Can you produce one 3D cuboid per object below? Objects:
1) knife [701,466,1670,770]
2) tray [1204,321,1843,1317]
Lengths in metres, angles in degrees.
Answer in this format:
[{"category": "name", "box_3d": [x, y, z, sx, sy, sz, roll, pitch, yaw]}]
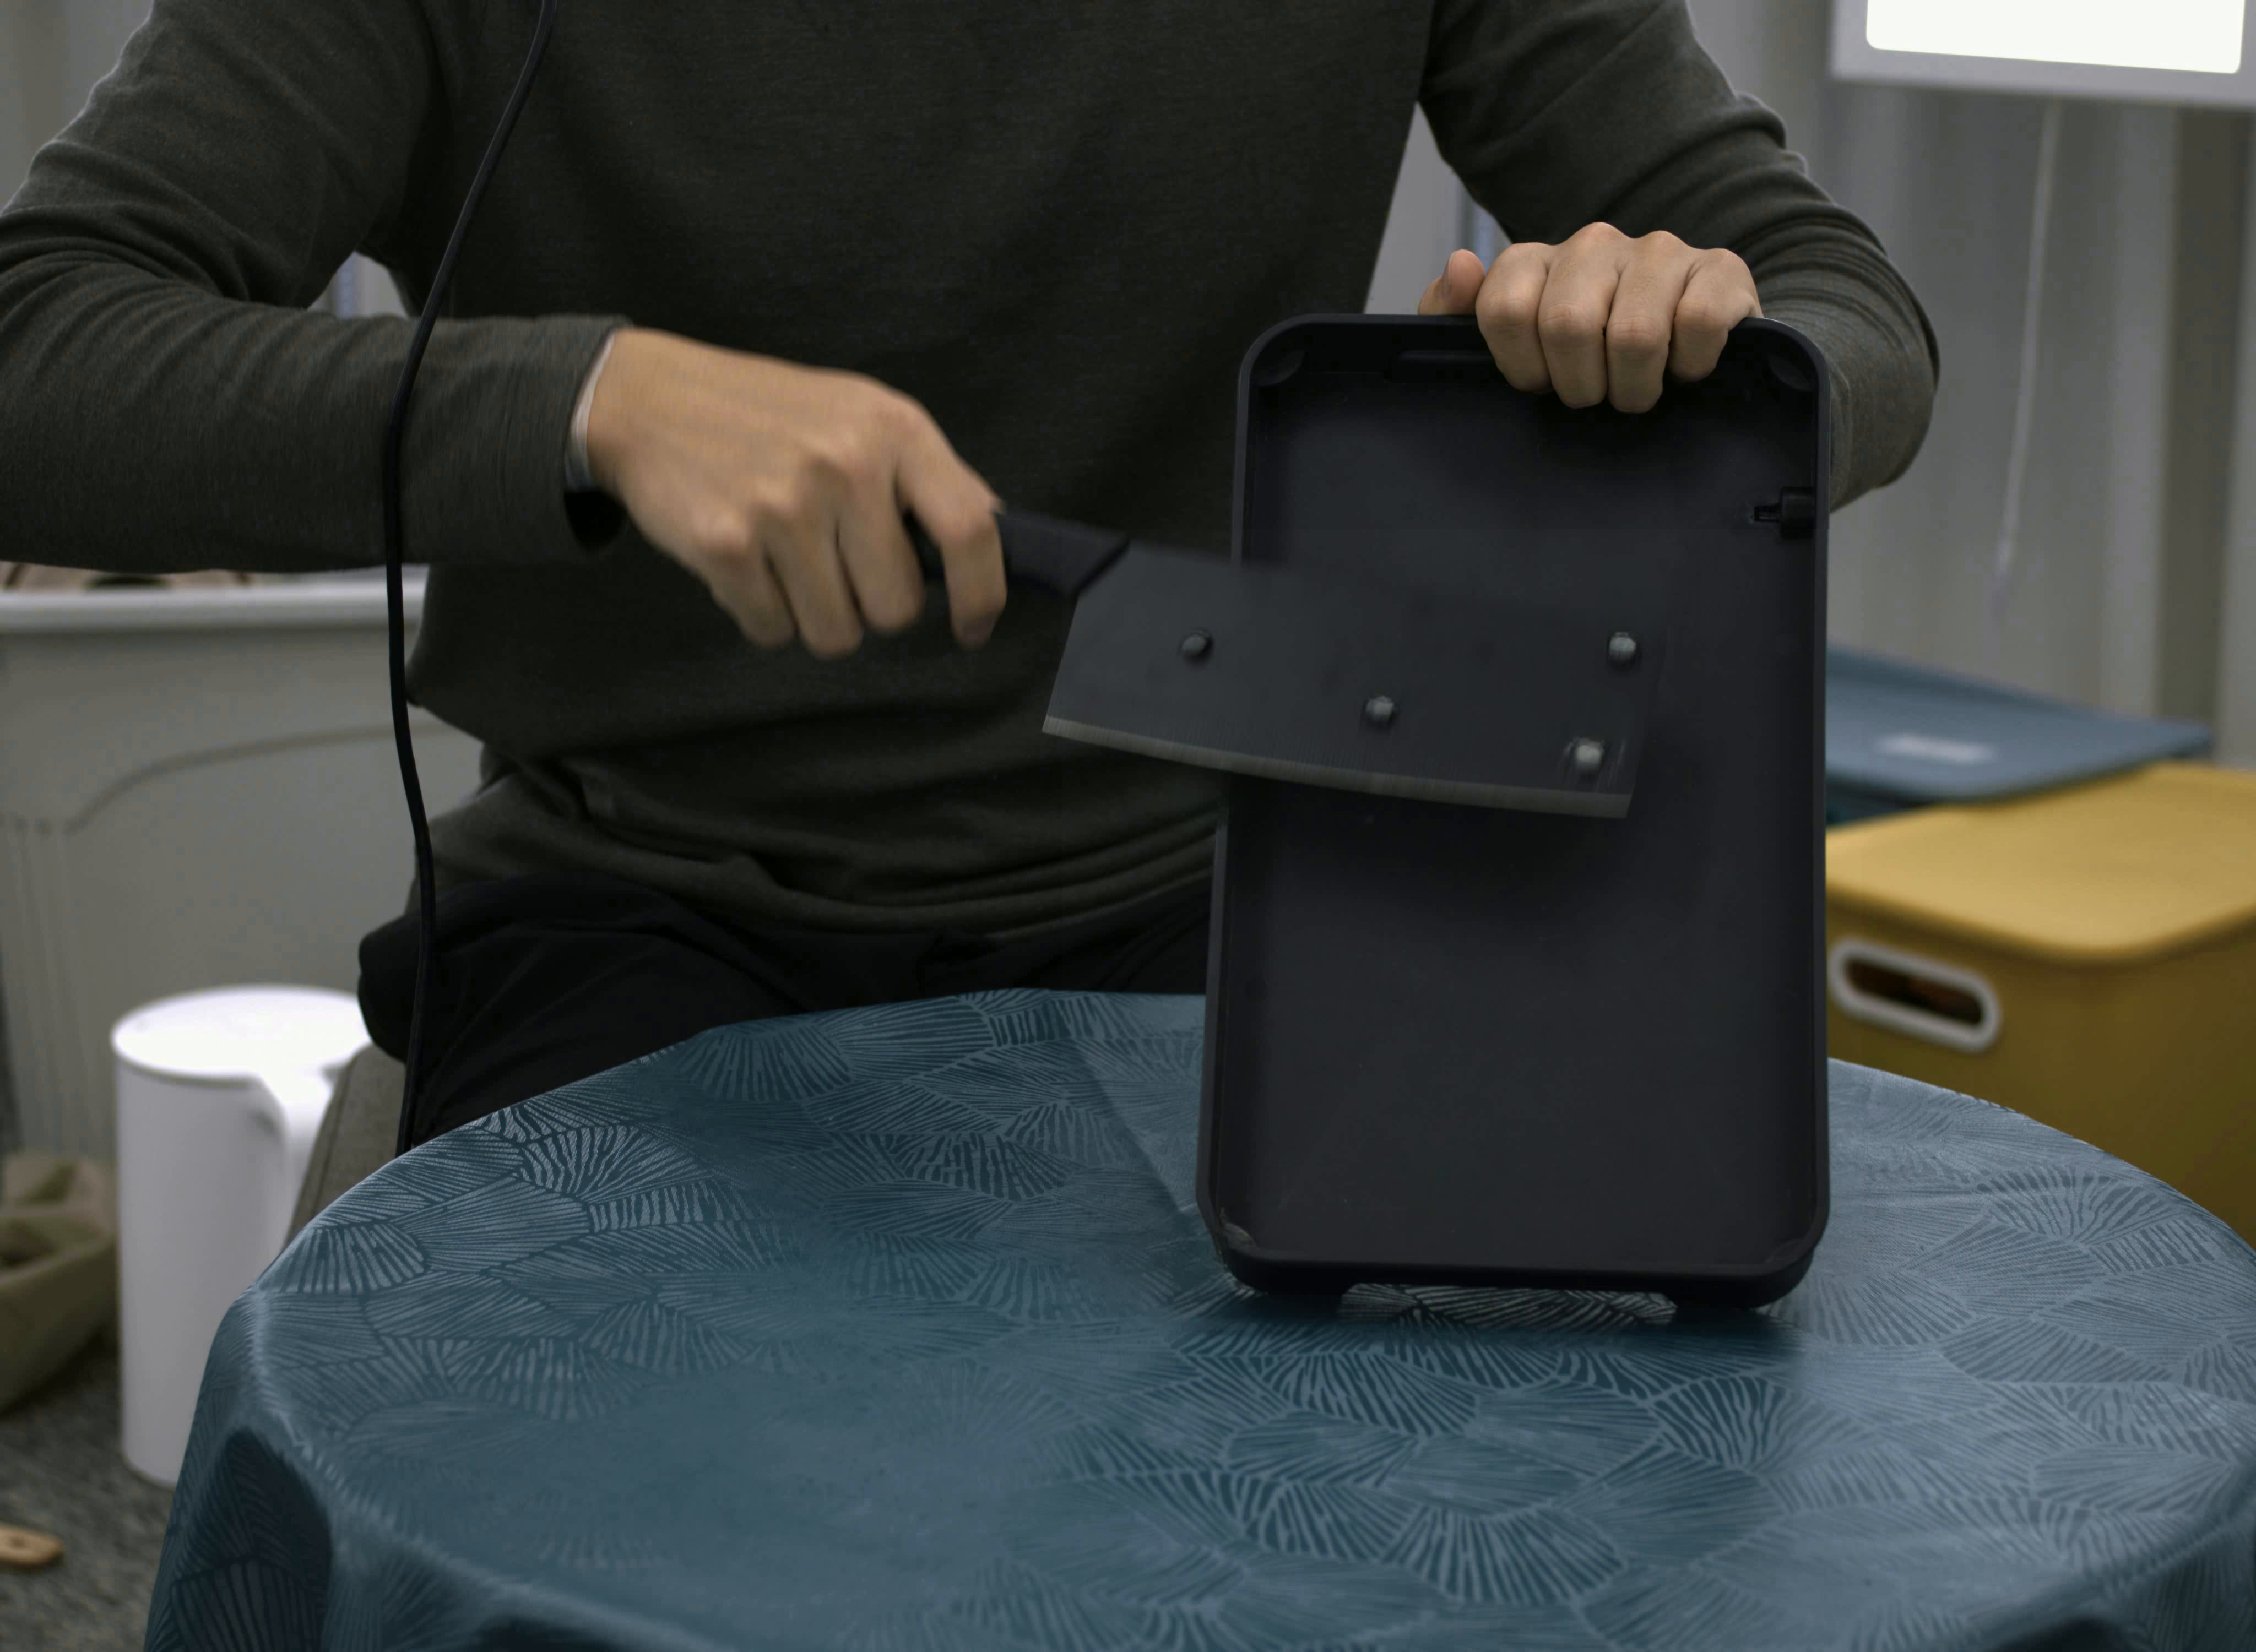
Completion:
[{"category": "knife", "box_3d": [0.014, -0.066, 1.598, 0.300, 0.080, 0.021, 13, -24, 13]}, {"category": "tray", "box_3d": [0.117, -0.005, 1.581, 0.183, 0.316, 0.037, 0, -25, 3]}]
